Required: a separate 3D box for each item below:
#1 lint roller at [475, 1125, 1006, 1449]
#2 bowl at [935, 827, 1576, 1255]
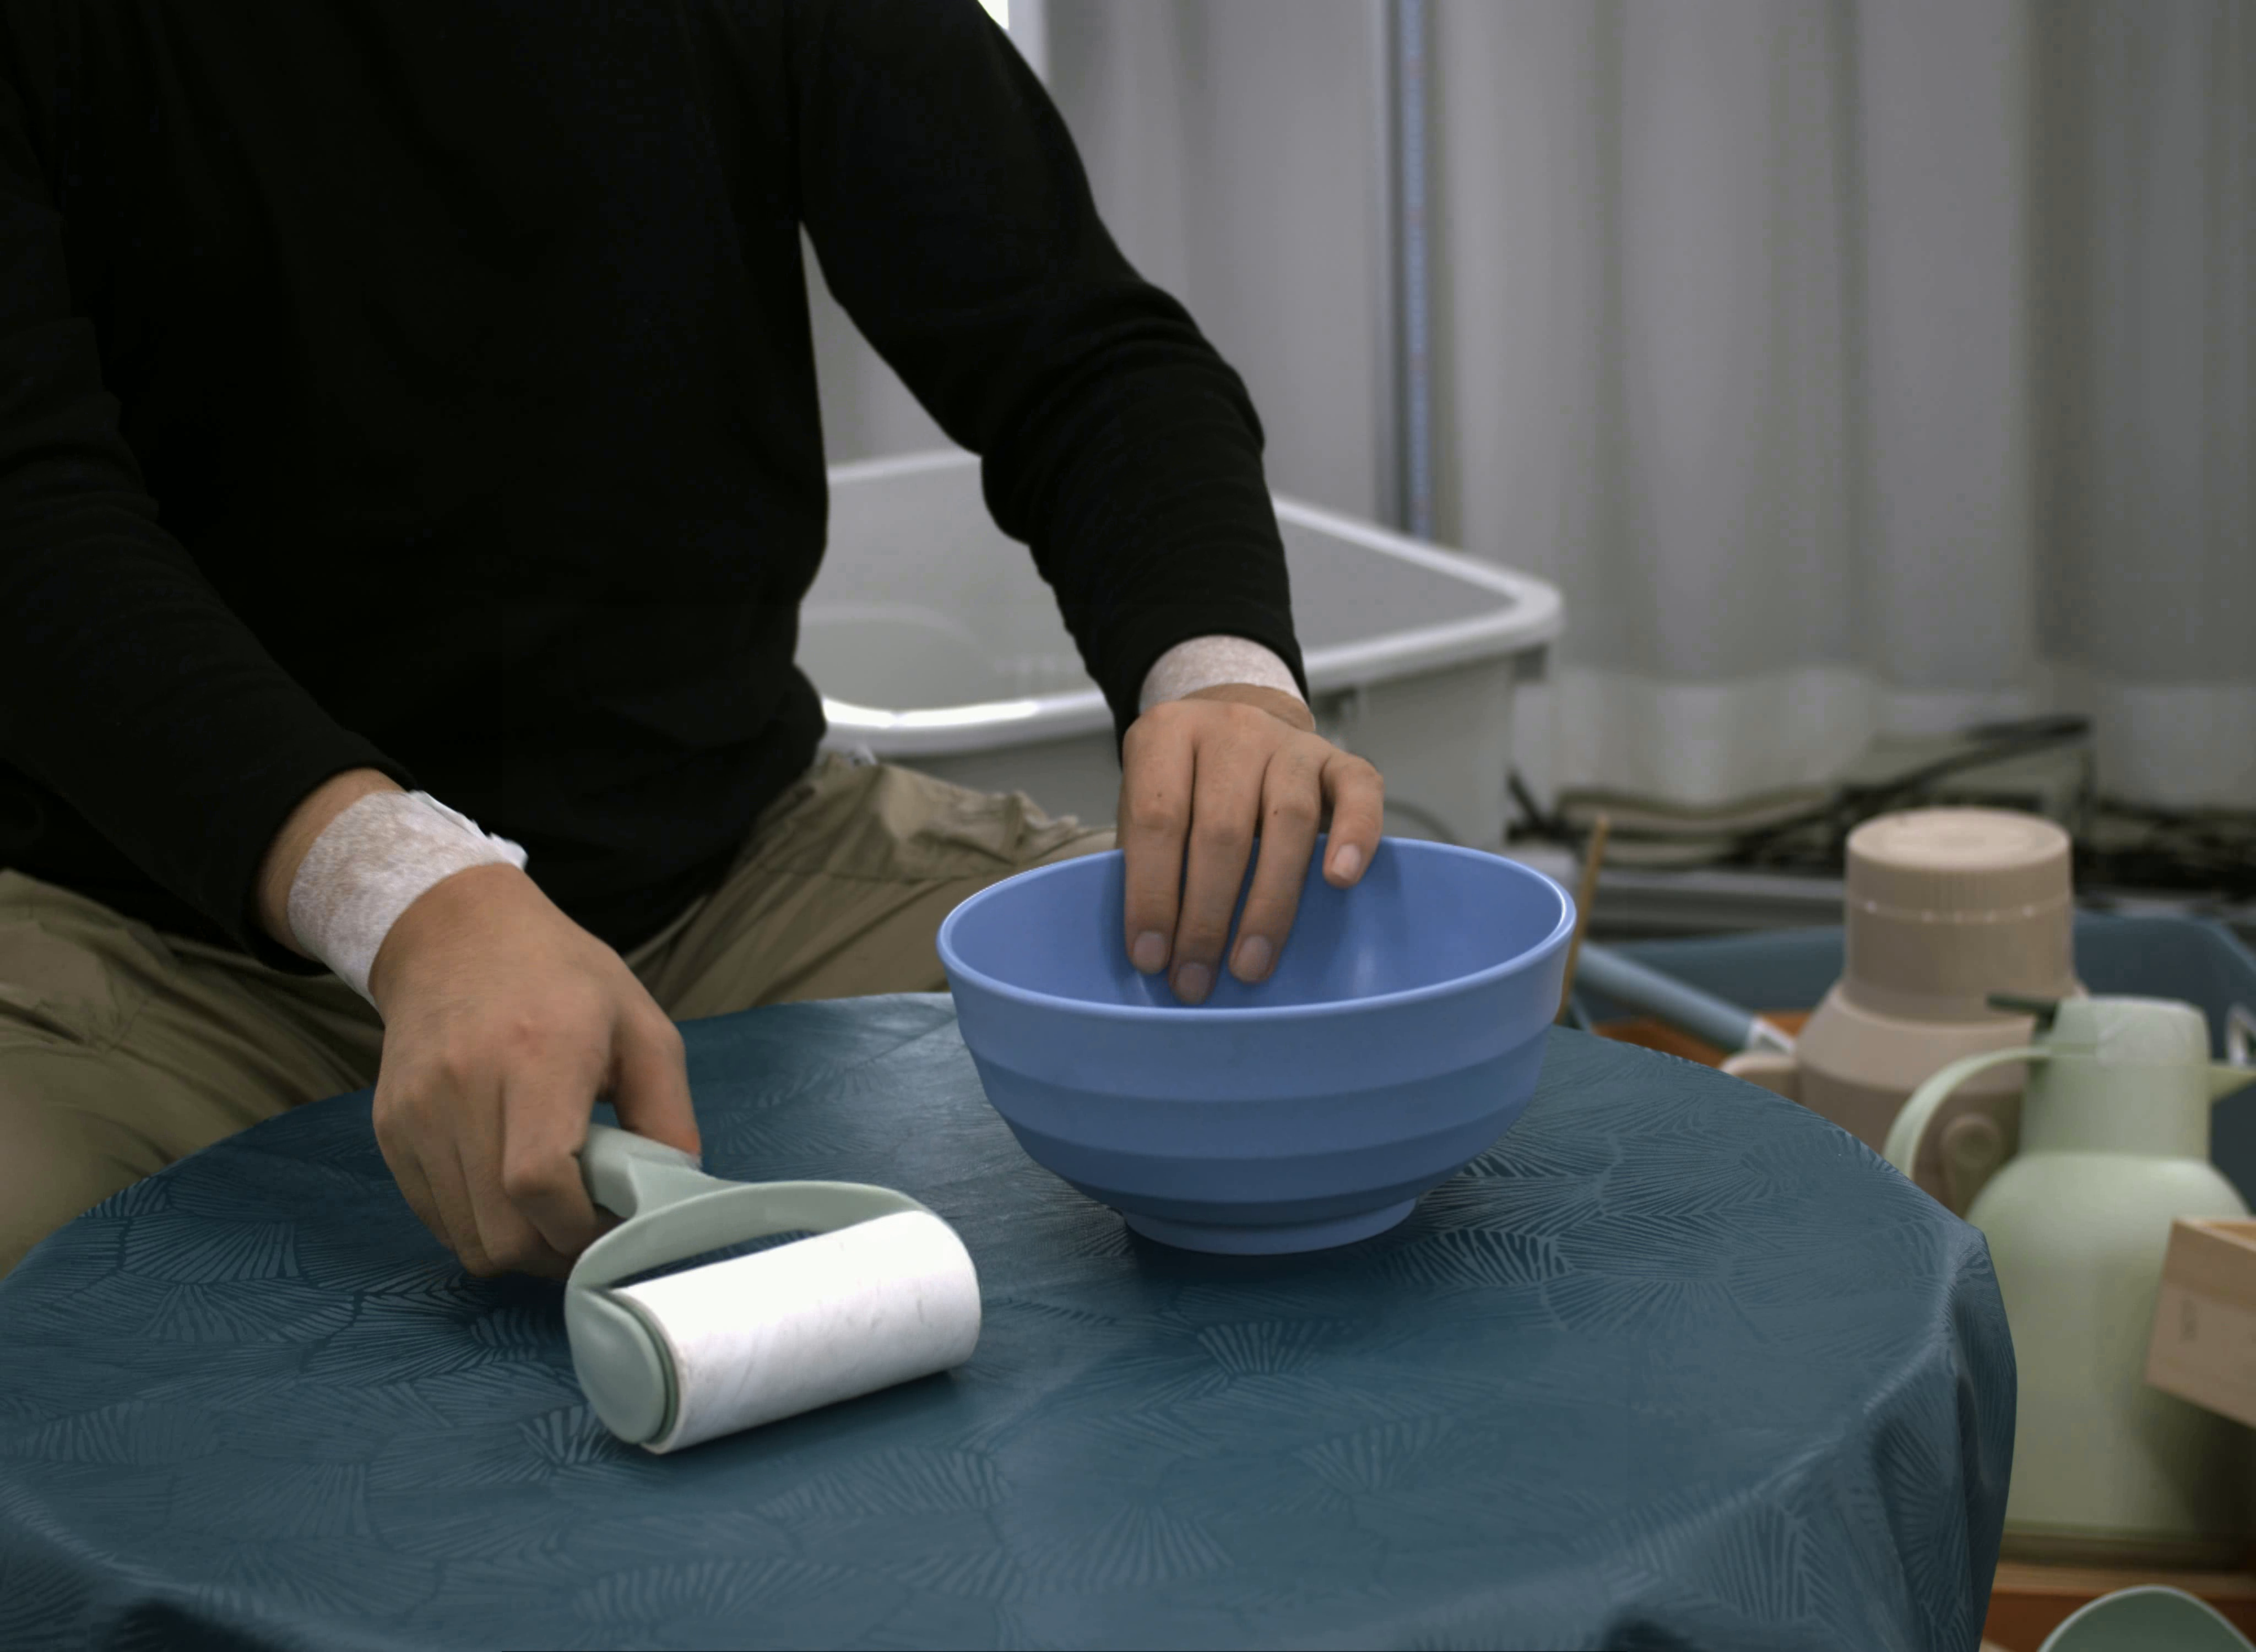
[{"bbox_3d":[-0.132,0.117,1.600,0.116,0.048,0.199,-14,27,-33],"label":"lint roller"},{"bbox_3d":[0.042,0.072,1.681,0.196,0.095,0.198,-4,15,1],"label":"bowl"}]
